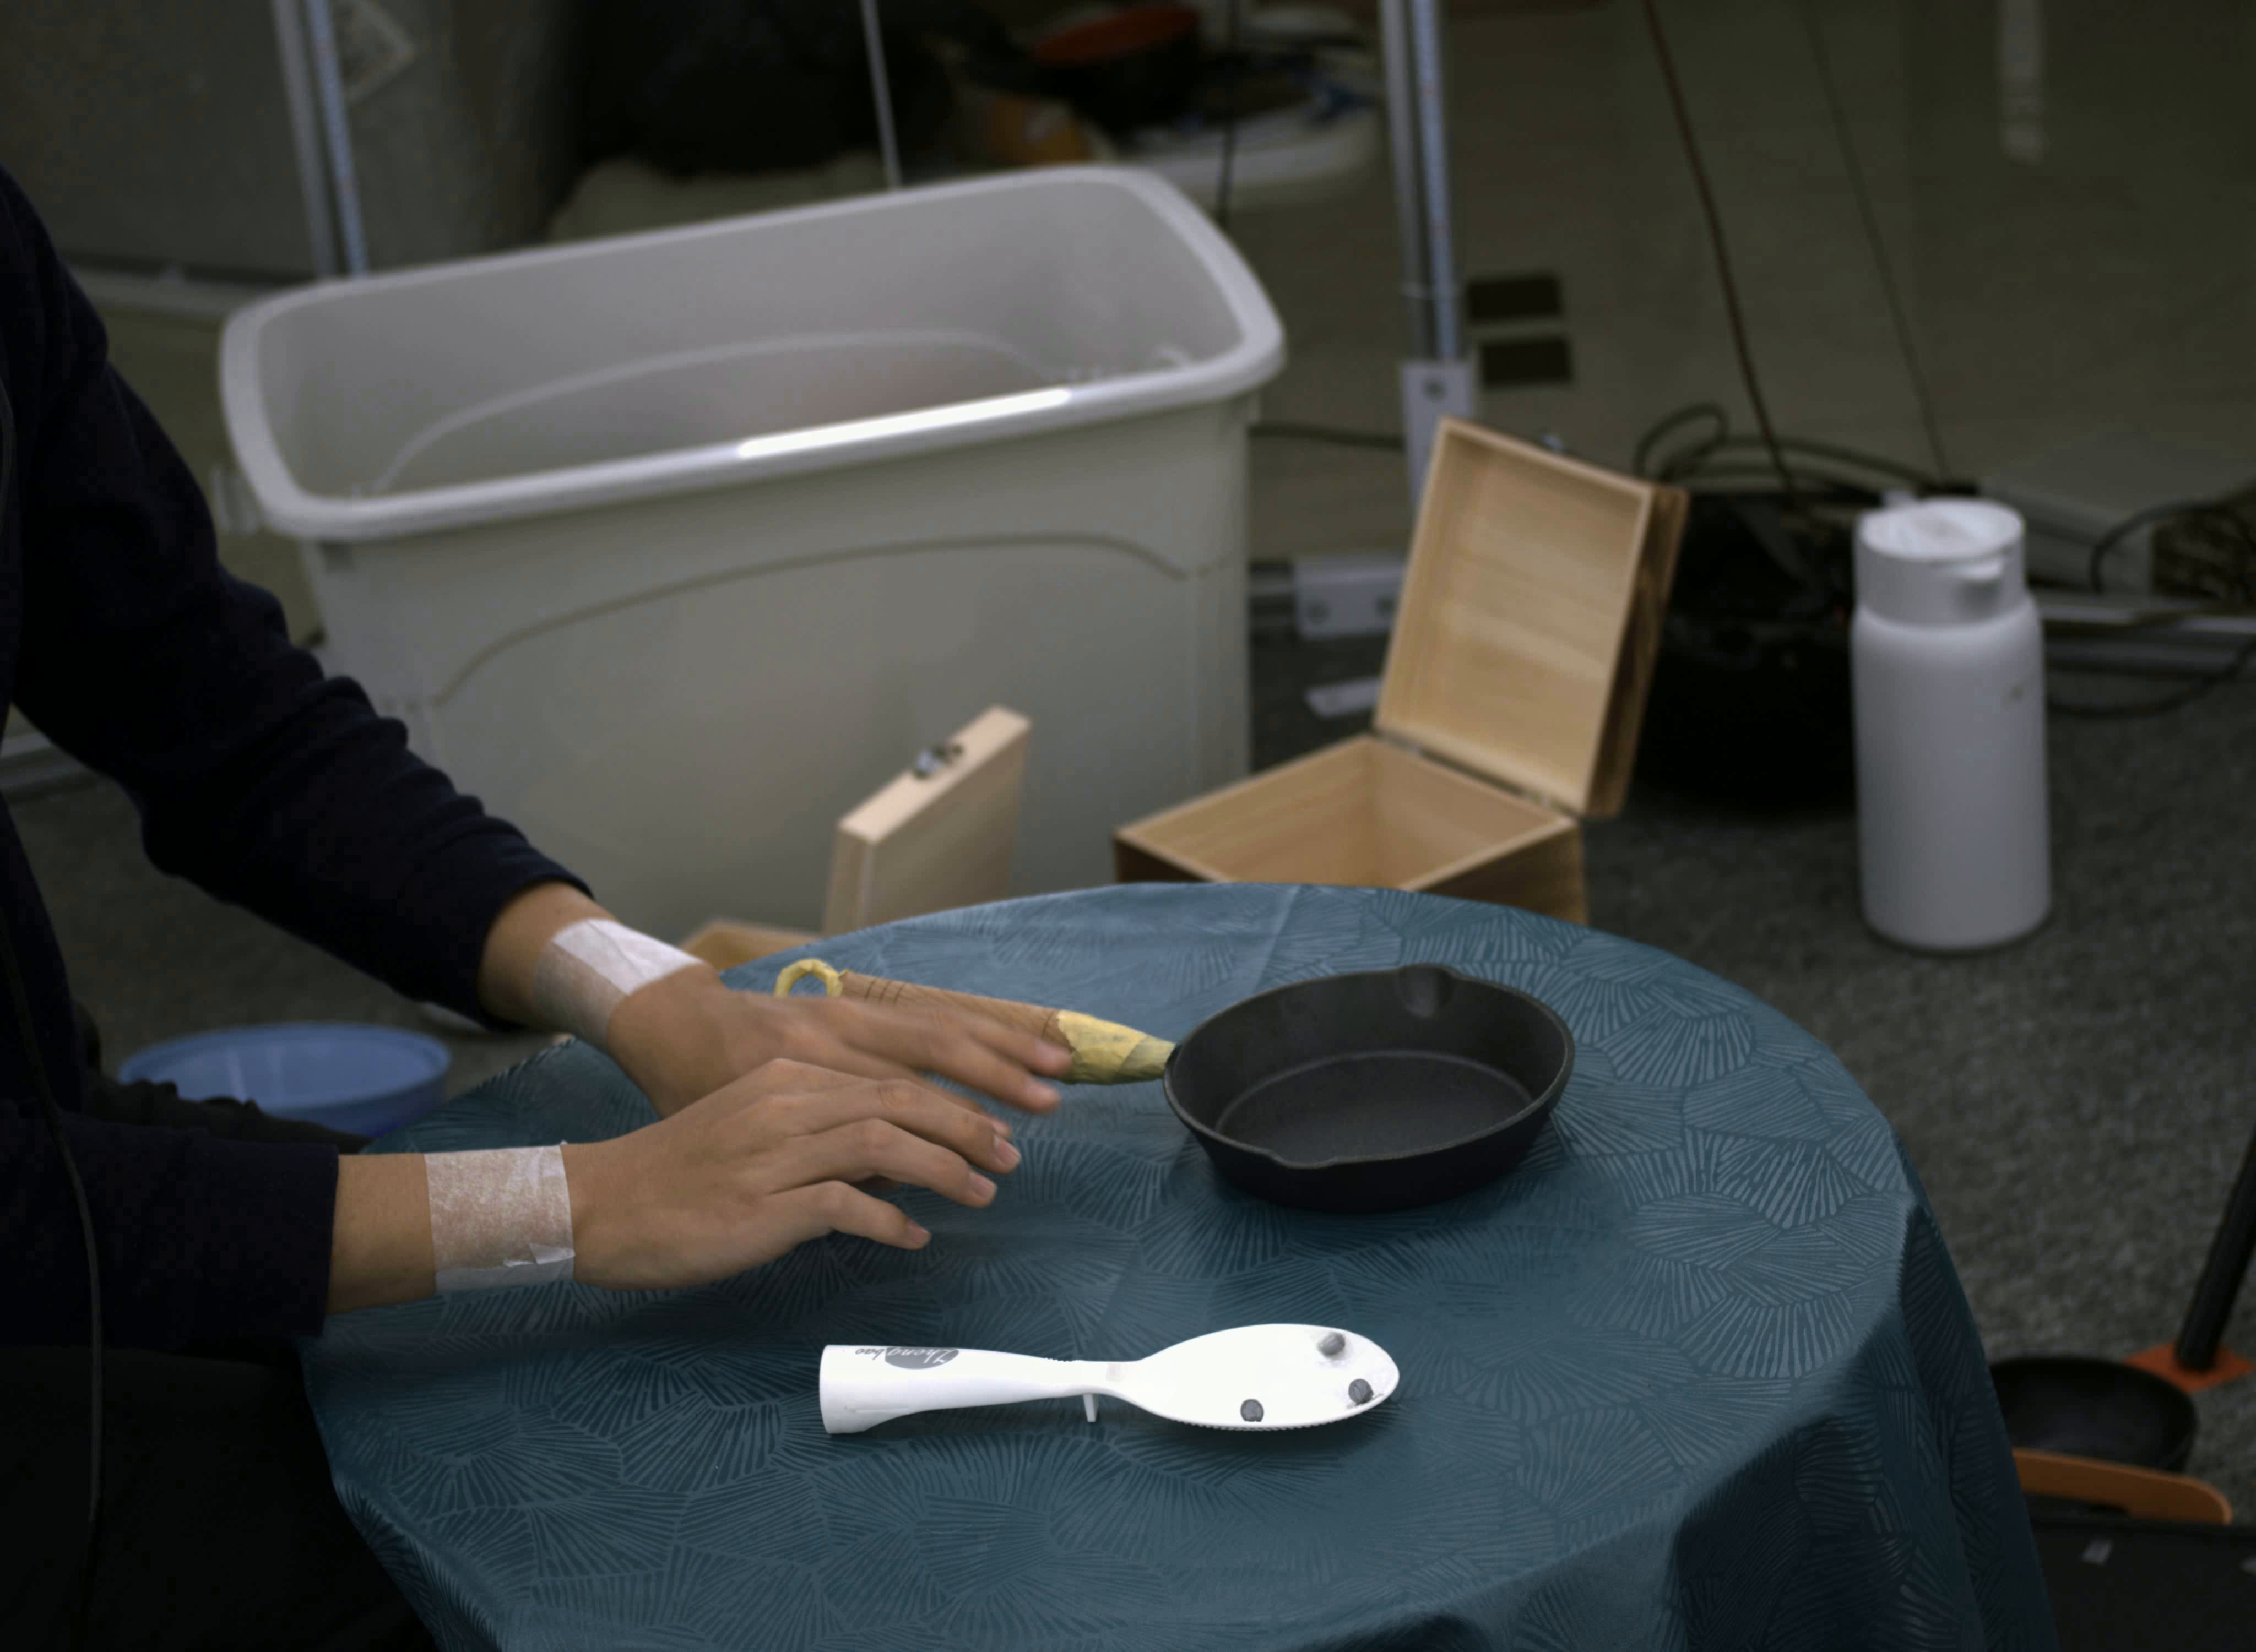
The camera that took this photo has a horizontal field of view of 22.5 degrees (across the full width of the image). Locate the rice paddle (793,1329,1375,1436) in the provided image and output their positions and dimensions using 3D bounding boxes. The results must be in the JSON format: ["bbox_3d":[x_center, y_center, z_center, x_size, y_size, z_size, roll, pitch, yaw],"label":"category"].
[{"bbox_3d":[-0.015,0.196,2.001,0.205,0.030,0.068,-2,27,7],"label":"rice paddle"}]

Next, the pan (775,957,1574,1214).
[{"bbox_3d":[0.014,0.090,2.188,0.323,0.050,0.166,6,28,22],"label":"pan"}]
